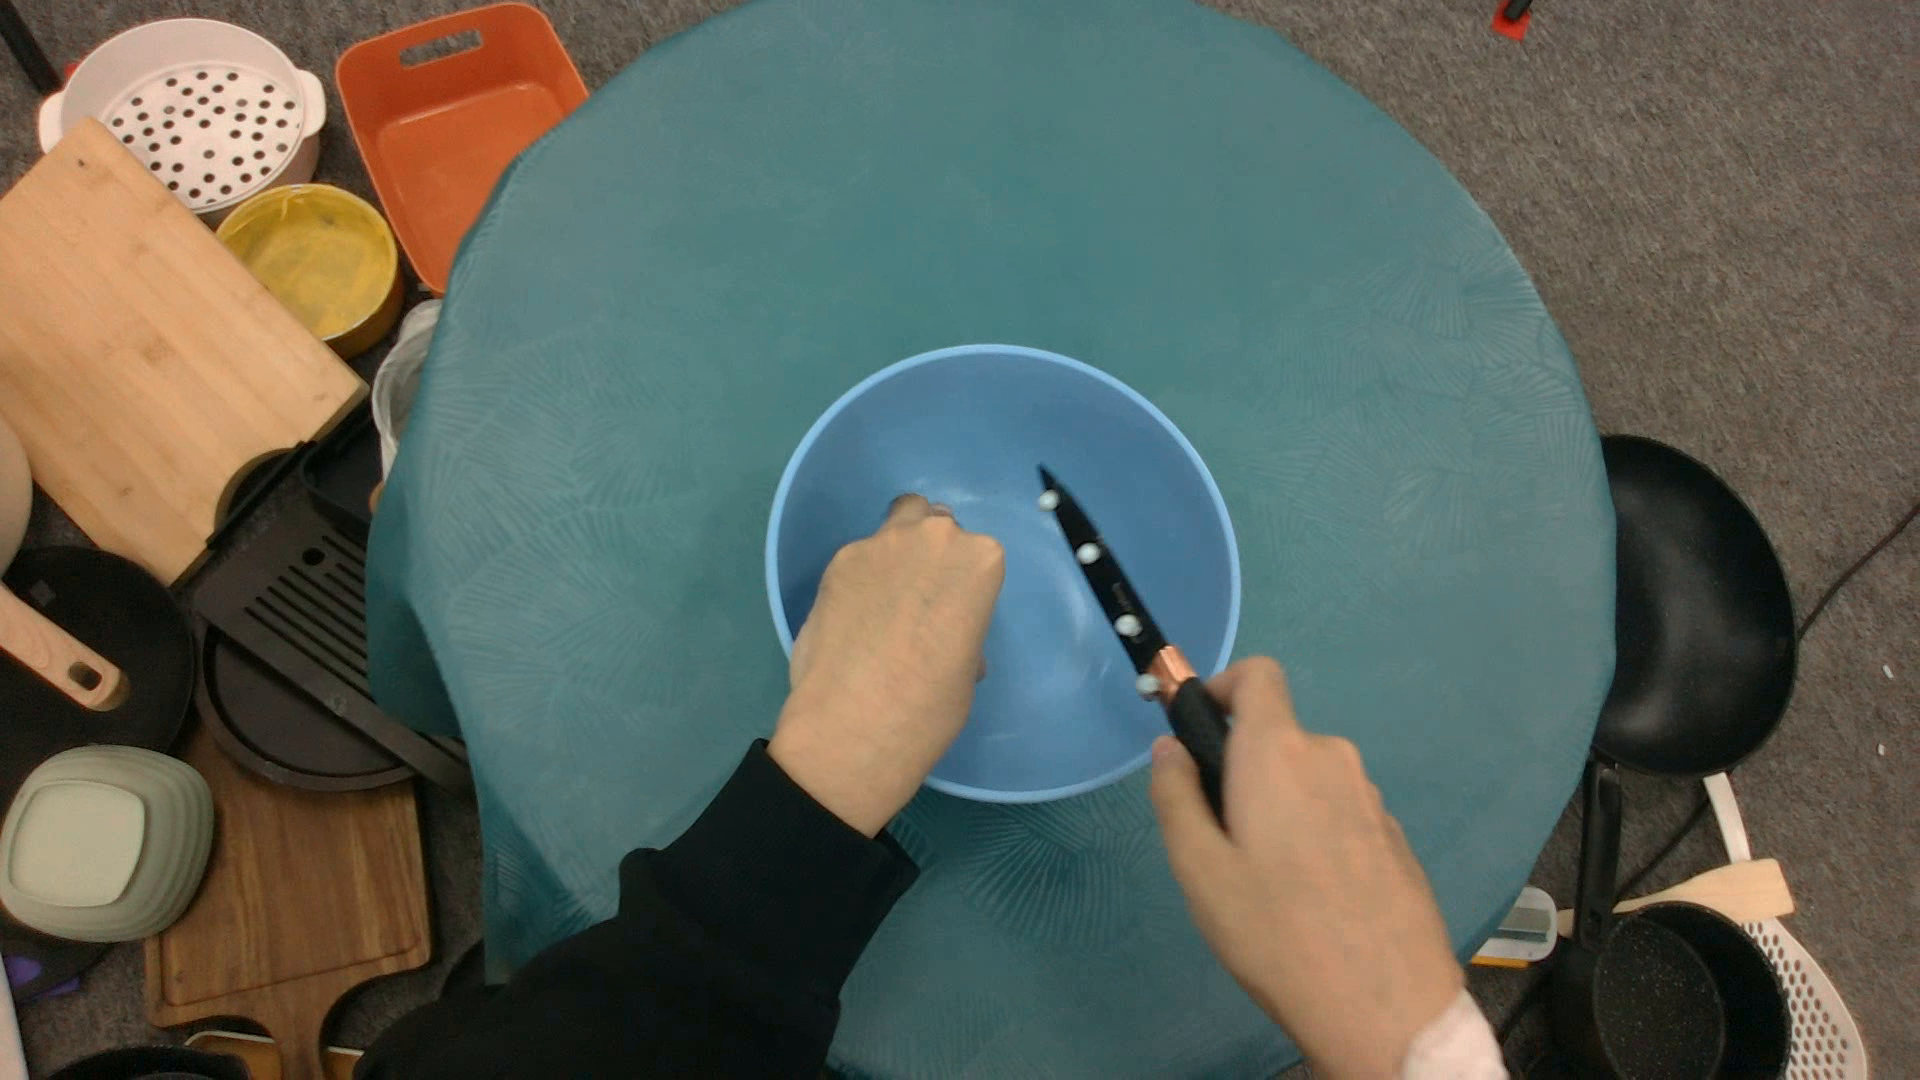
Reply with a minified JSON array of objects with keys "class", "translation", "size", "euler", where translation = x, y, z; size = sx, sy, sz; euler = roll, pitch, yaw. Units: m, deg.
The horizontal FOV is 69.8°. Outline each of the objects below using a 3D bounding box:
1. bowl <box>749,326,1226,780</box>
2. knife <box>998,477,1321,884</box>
[{"class":"bowl","translation":[0.007,0.016,0.597],"size":[0.196,0.095,0.197],"euler":[4,67,-9]},{"class":"knife","translation":[0.067,0.041,0.528],"size":[0.017,0.026,0.226],"euler":[-10,45,-26]}]
